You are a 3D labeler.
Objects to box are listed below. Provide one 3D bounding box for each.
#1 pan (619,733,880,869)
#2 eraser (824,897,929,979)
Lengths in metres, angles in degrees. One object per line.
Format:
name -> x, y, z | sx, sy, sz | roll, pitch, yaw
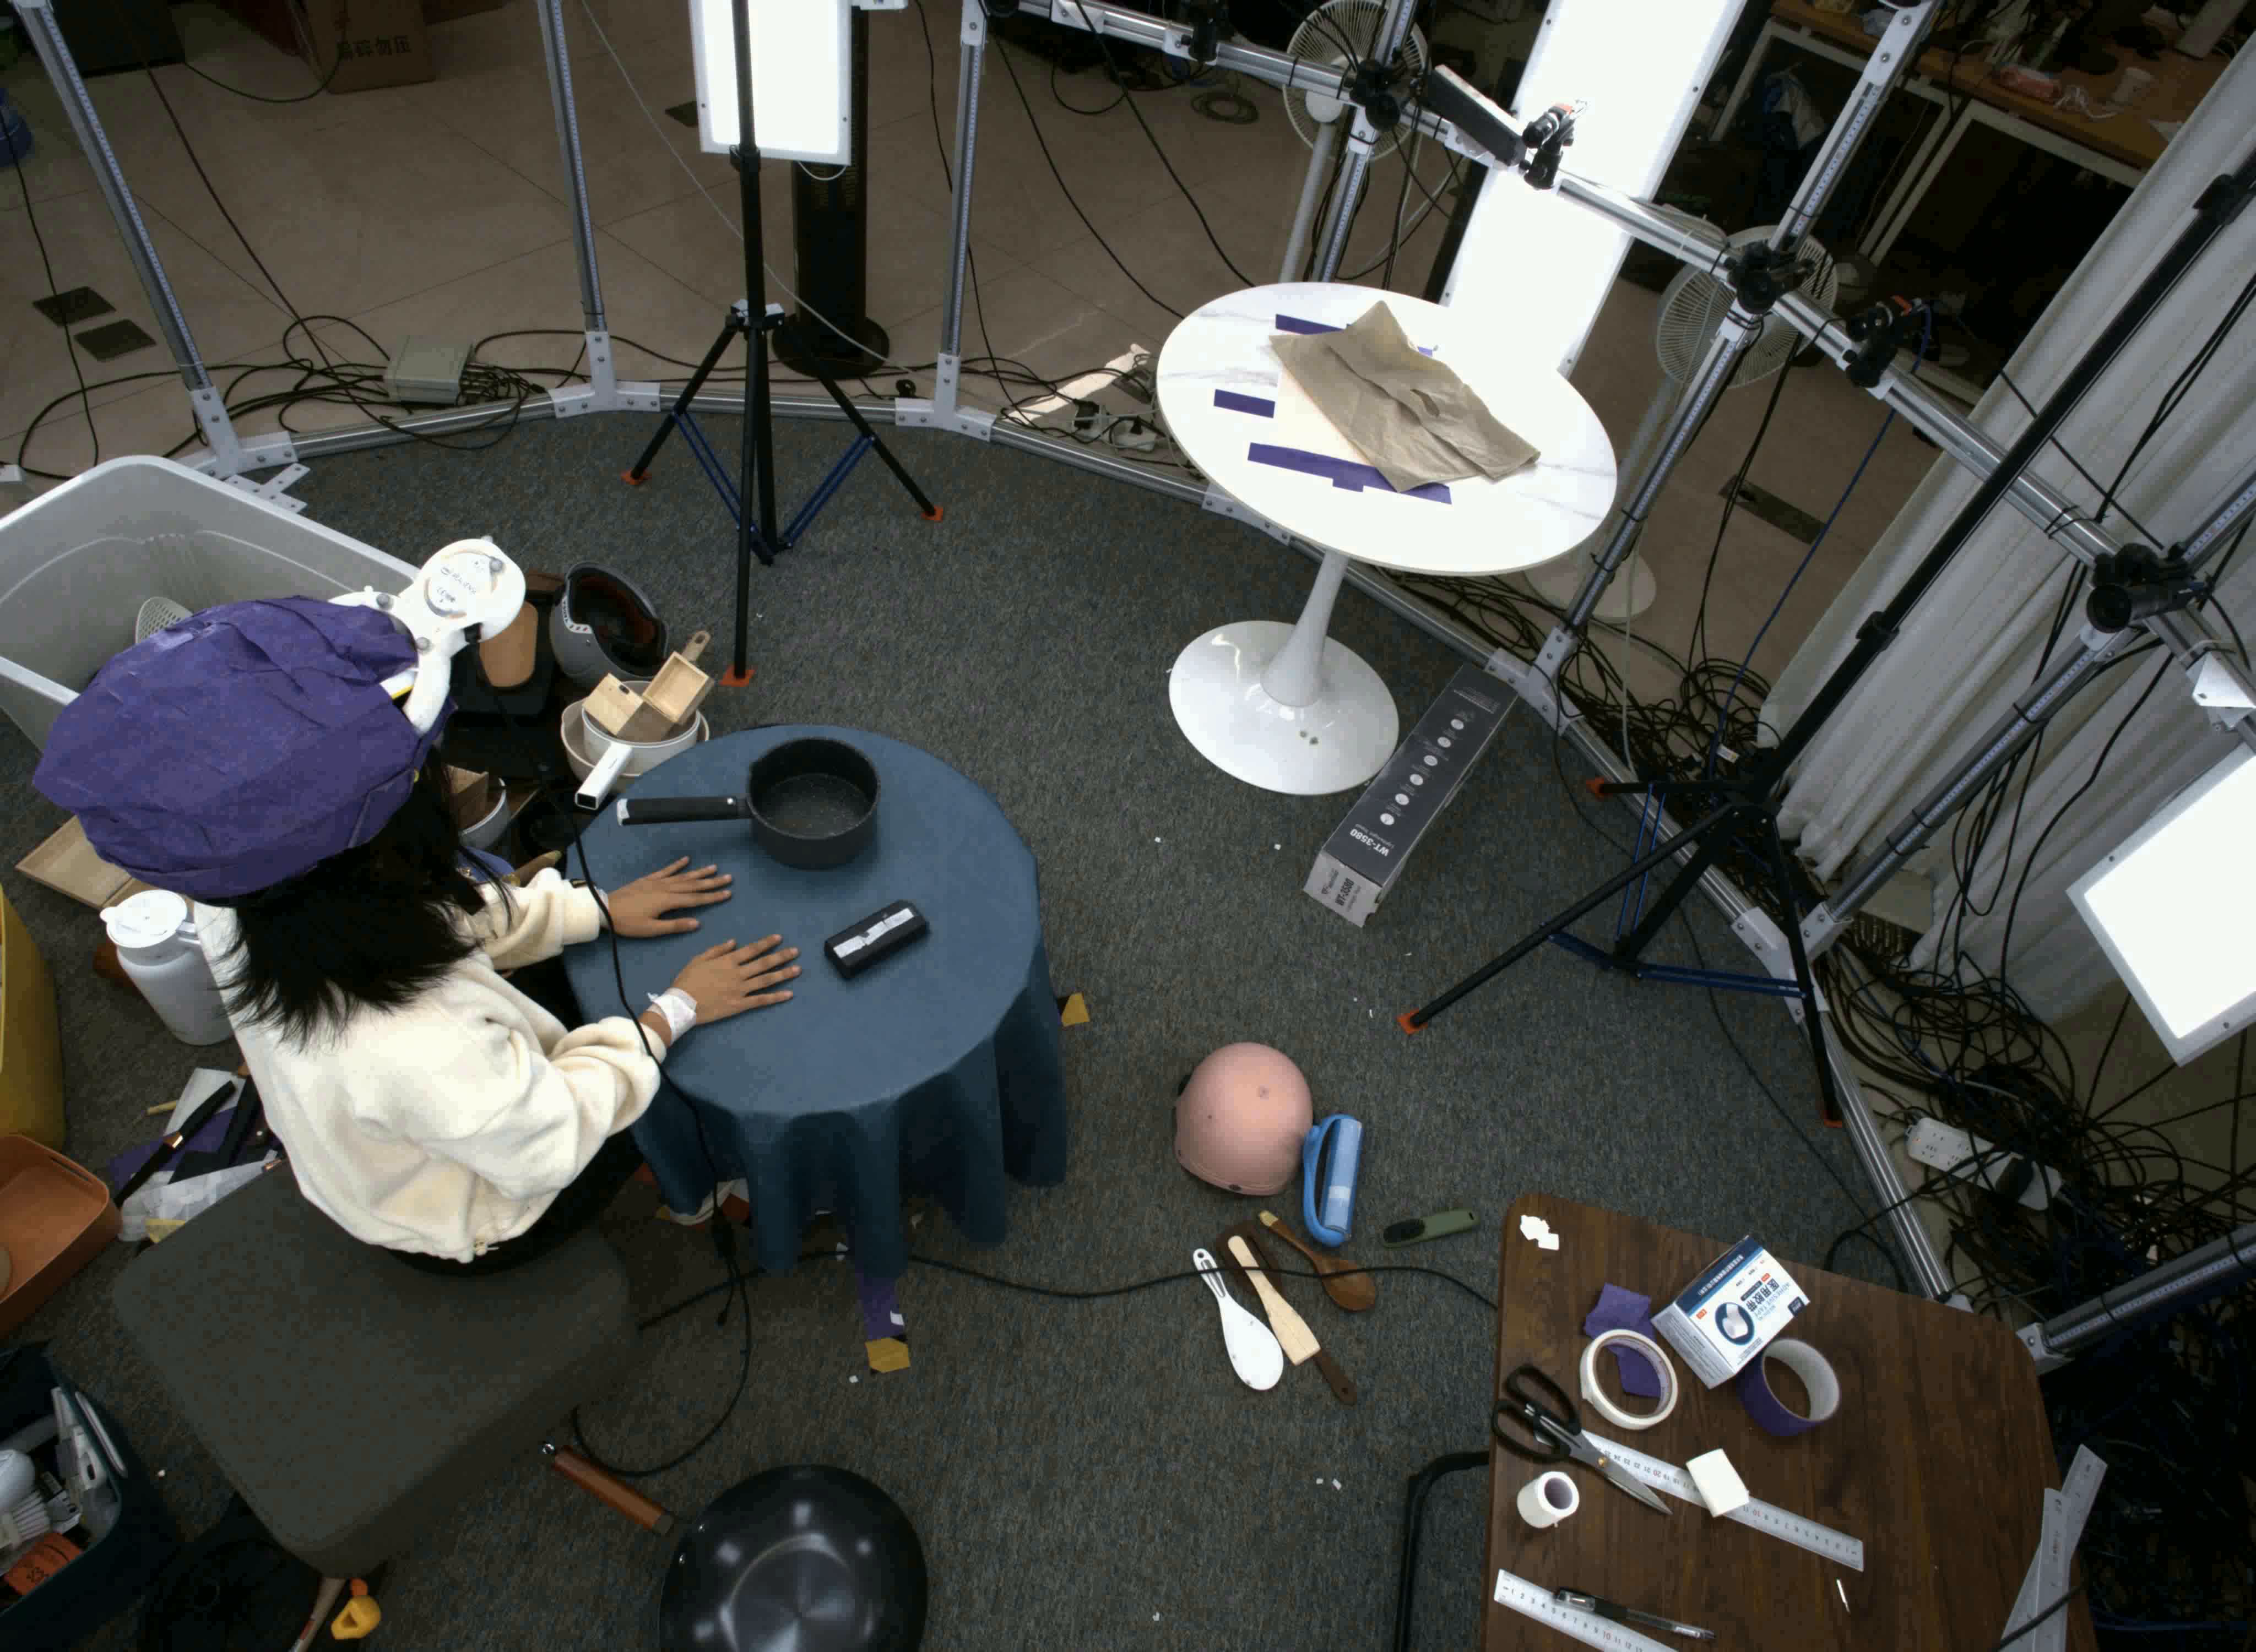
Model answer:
pan -> -0.486, -0.024, 1.666 | 0.330, 0.088, 0.168 | -6, 55, -20
eraser -> -0.315, 0.137, 1.628 | 0.126, 0.031, 0.052 | -30, 65, -30
